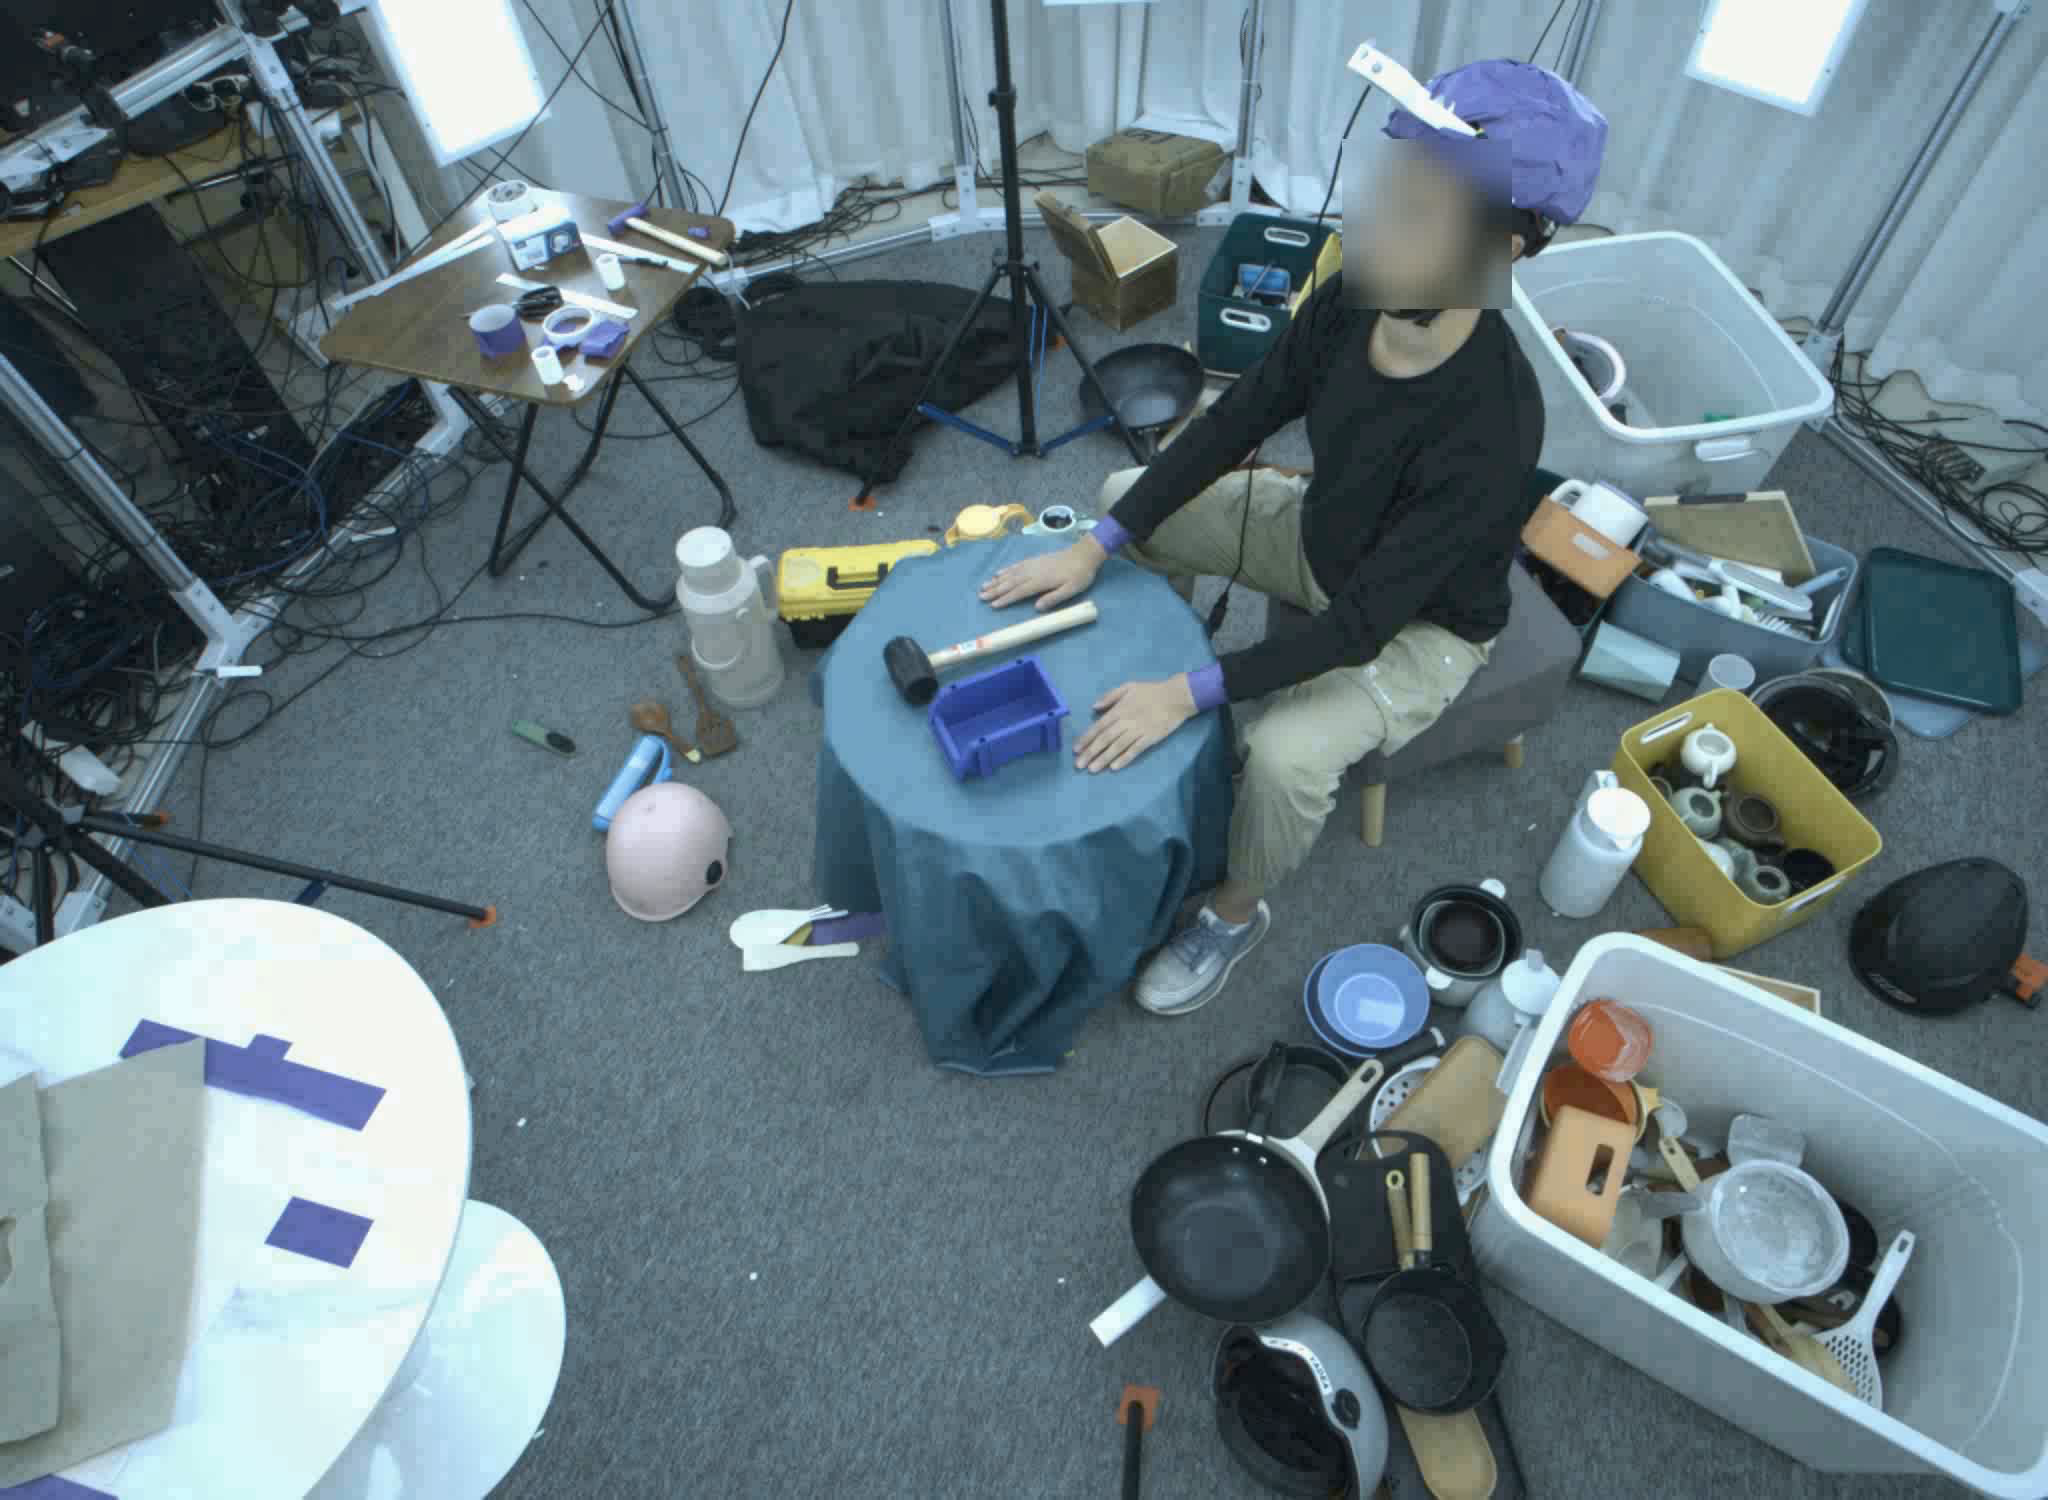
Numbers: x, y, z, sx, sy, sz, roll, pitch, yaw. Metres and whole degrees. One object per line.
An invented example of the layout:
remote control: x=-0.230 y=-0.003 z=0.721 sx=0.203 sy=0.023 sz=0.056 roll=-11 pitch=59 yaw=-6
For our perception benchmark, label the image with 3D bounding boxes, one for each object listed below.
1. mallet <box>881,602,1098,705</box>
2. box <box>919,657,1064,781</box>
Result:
mallet: x=-0.047 y=-0.169 z=1.868 sx=0.341 sy=0.065 sz=0.100 roll=-21 pitch=56 yaw=-13
box: x=-0.048 y=-0.039 z=1.762 sx=0.181 sy=0.082 sz=0.122 roll=-18 pitch=56 yaw=-15
